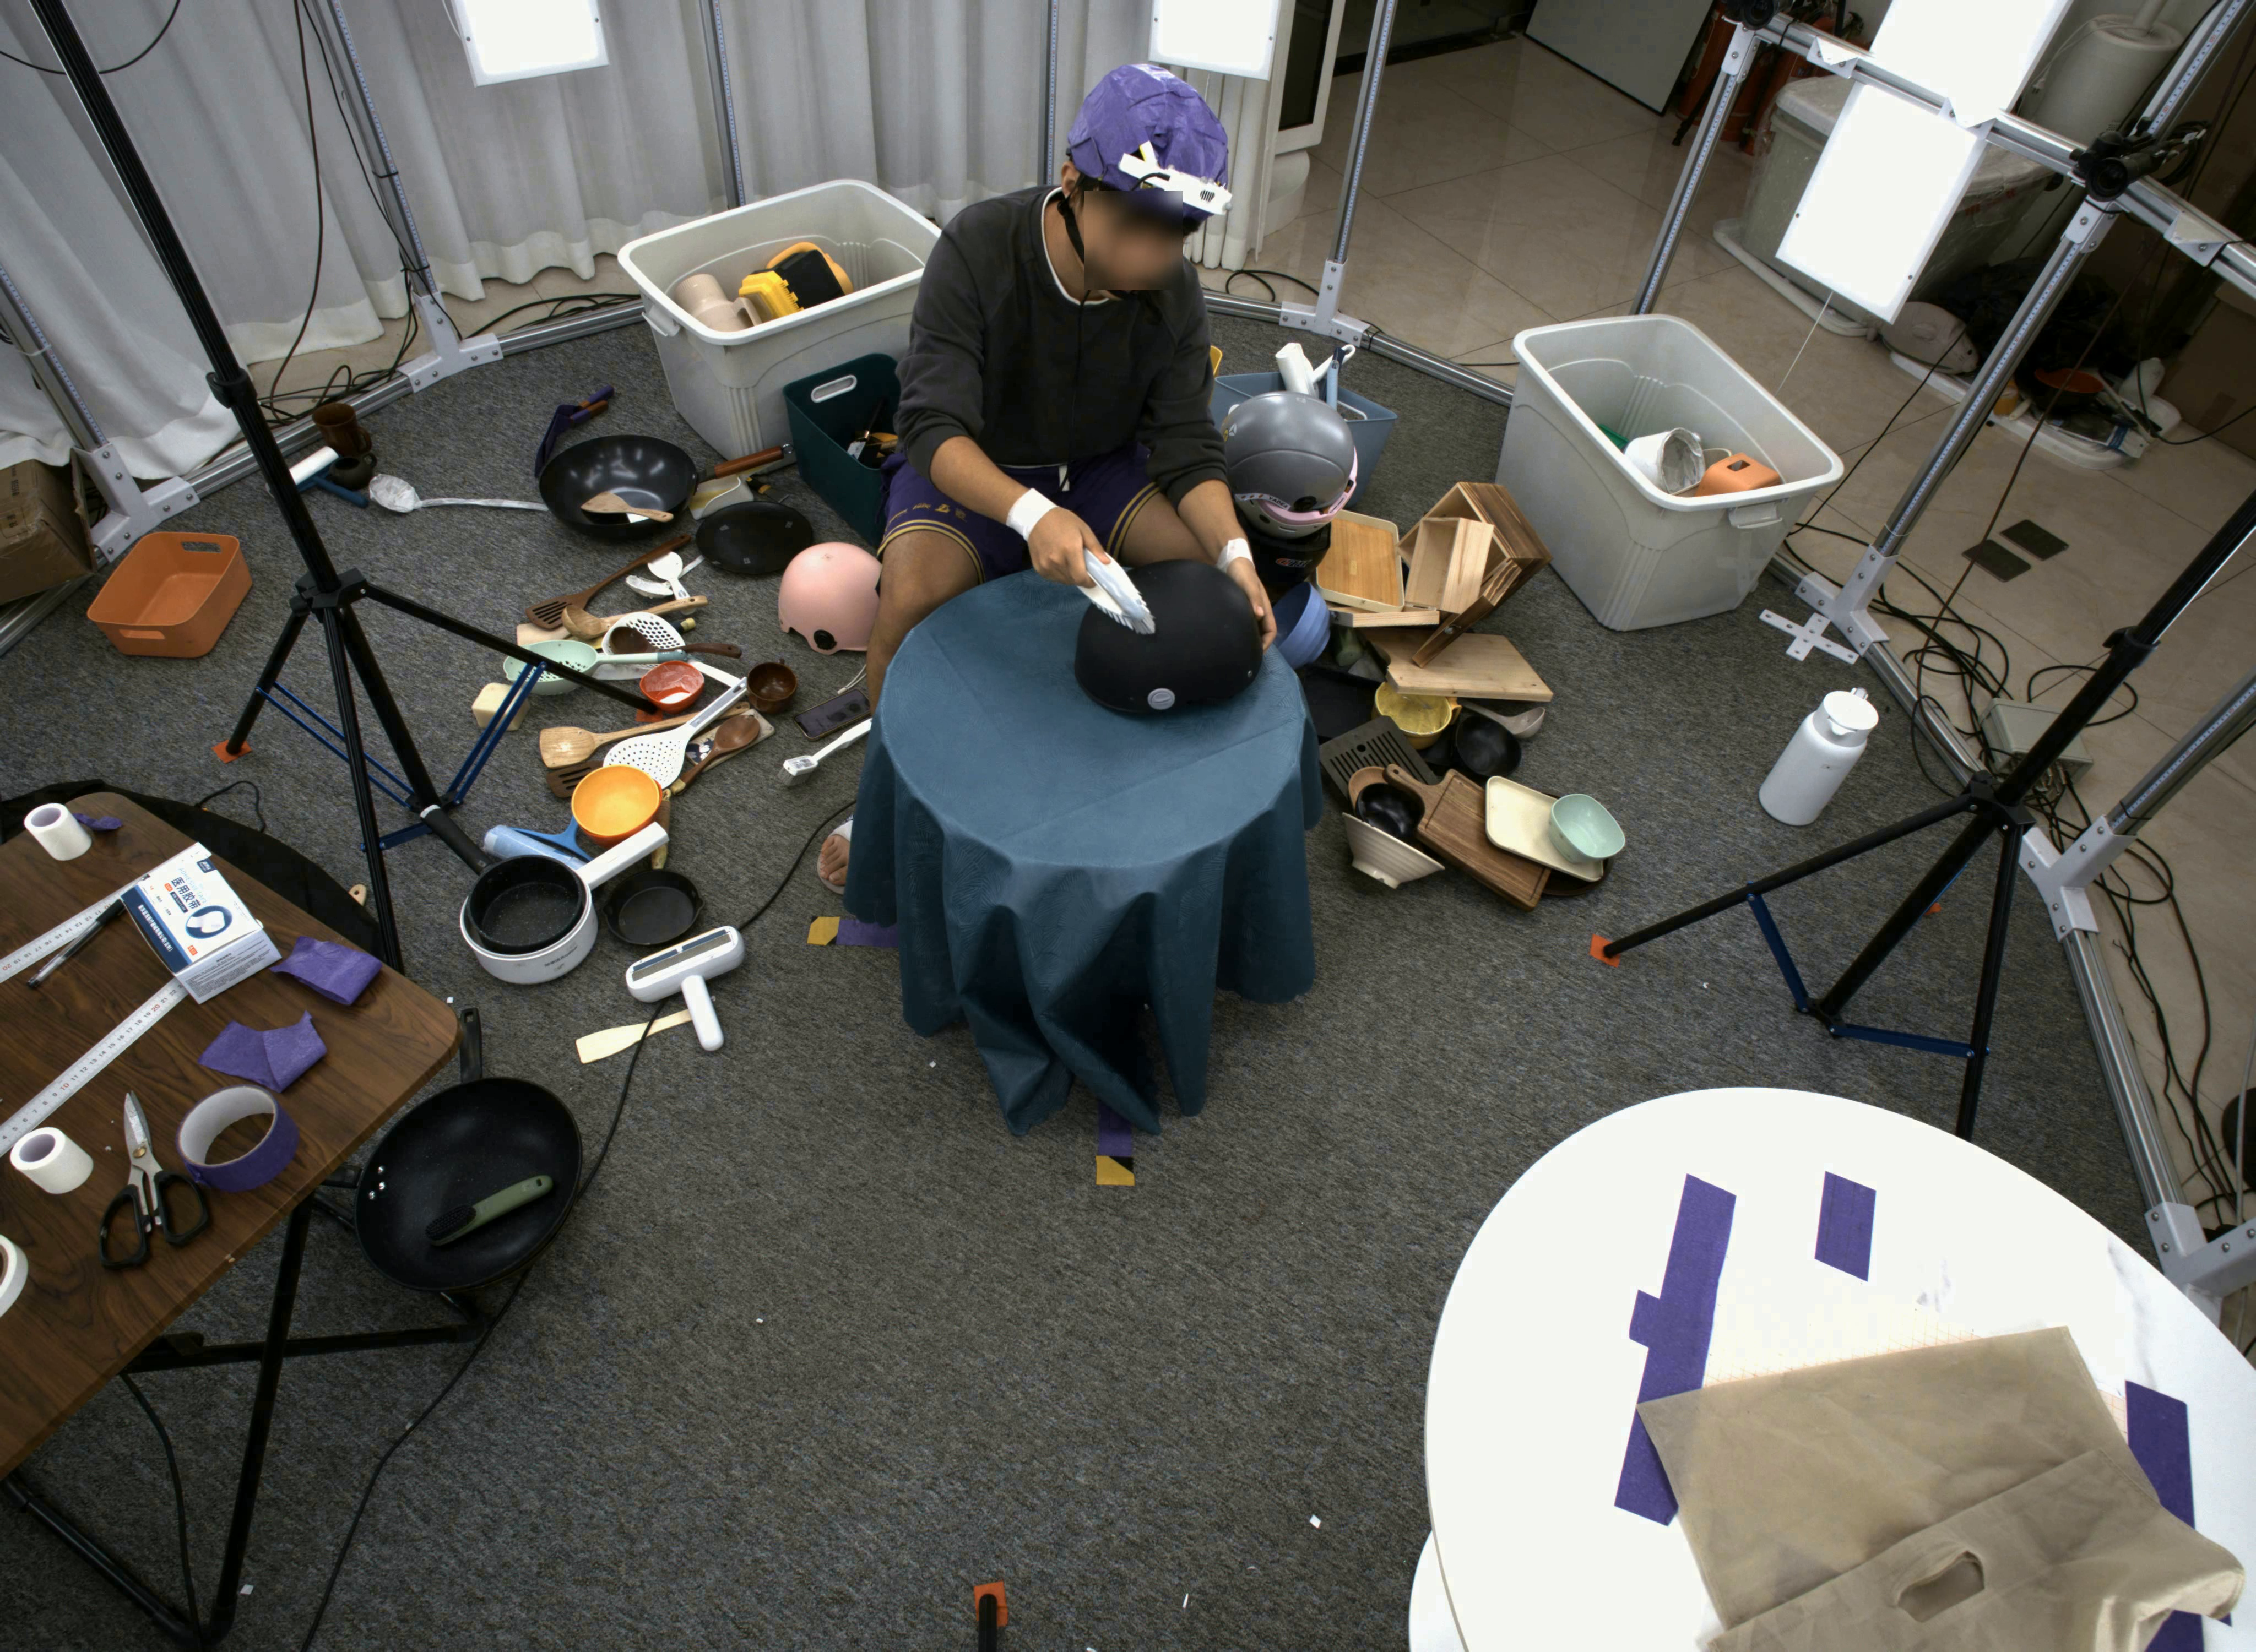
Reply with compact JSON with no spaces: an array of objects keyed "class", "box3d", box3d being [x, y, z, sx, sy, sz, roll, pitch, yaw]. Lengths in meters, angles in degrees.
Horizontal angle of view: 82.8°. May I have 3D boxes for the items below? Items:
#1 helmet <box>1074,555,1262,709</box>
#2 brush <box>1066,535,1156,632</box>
[{"class":"helmet","box3d":[0.057,-0.288,1.815,0.273,0.162,0.236,-9,48,-8]},{"class":"brush","box3d":[-0.026,-0.330,1.723,0.061,0.092,0.179,-41,55,5]}]
